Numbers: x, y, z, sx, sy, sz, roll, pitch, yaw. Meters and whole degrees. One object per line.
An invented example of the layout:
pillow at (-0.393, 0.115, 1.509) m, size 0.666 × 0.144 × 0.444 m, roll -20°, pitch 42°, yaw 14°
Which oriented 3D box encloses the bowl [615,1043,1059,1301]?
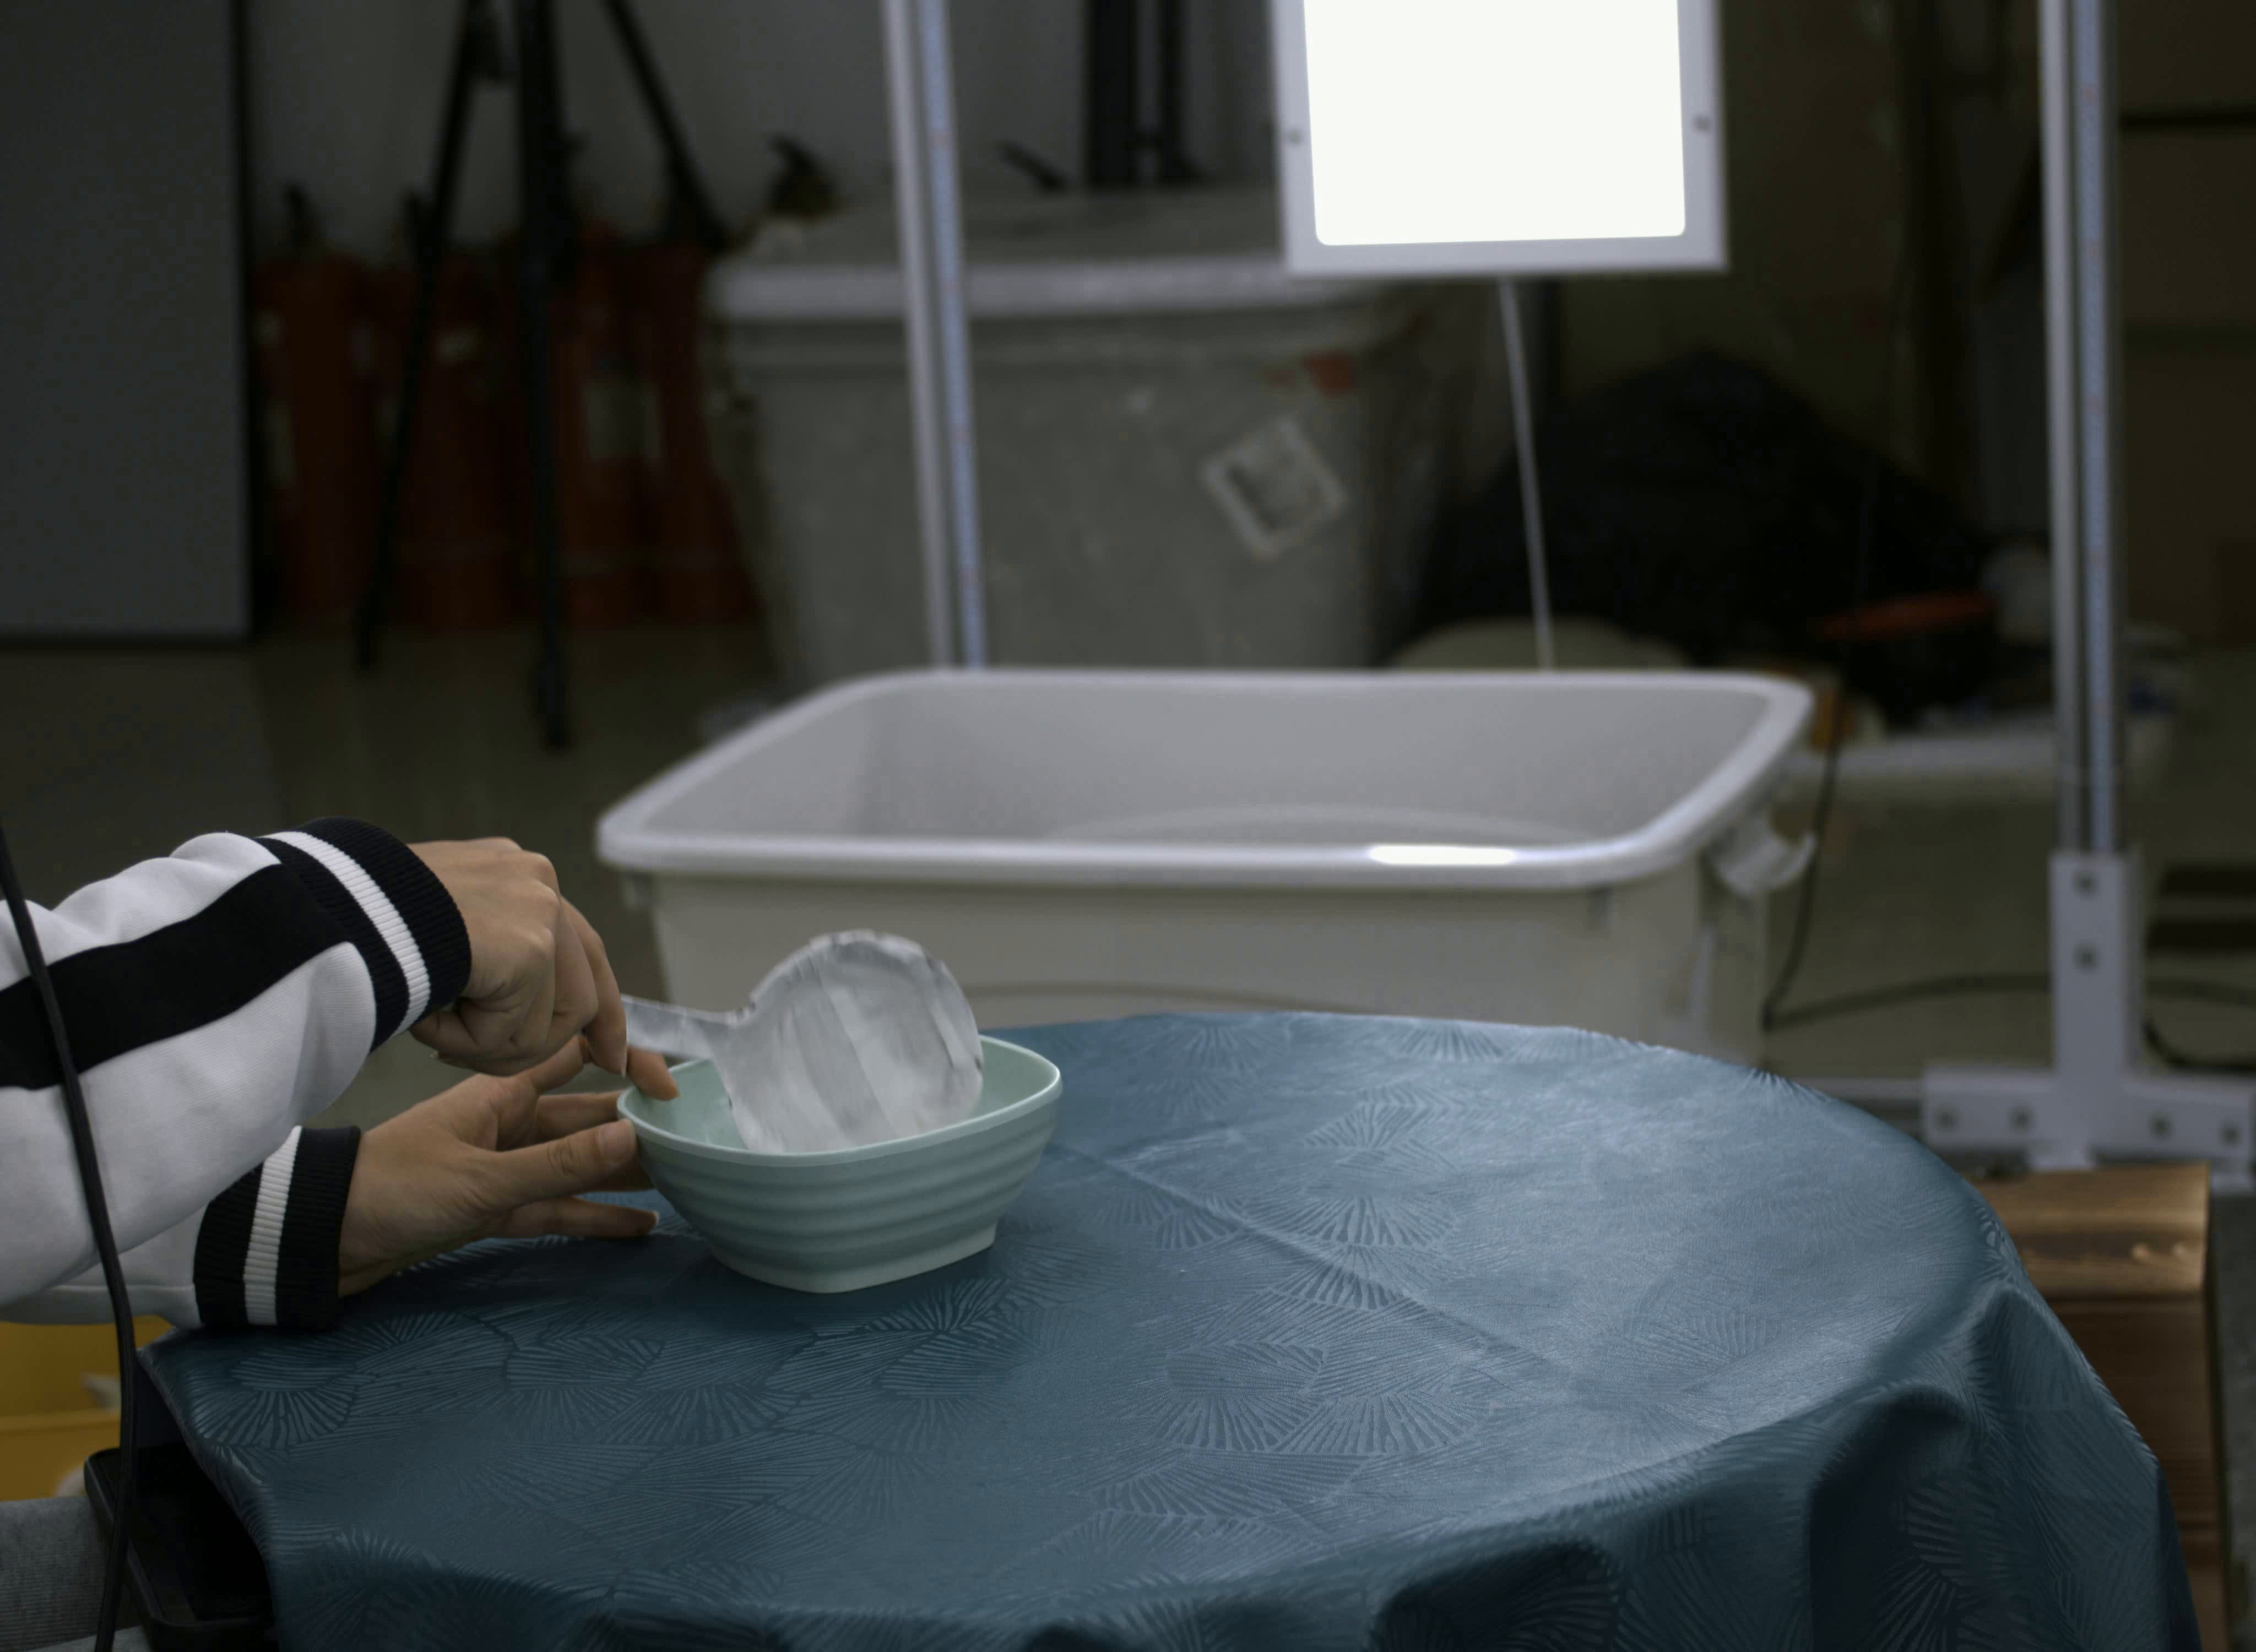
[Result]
bowl at (-0.096, 0.117, 1.860) m, size 0.151 × 0.059 × 0.151 m, roll -4°, pitch 14°, yaw 0°

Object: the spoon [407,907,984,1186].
spoon at (-0.130, 0.060, 1.737) m, size 0.060 × 0.100 × 0.273 m, roll 8°, pitch -10°, yaw 27°
